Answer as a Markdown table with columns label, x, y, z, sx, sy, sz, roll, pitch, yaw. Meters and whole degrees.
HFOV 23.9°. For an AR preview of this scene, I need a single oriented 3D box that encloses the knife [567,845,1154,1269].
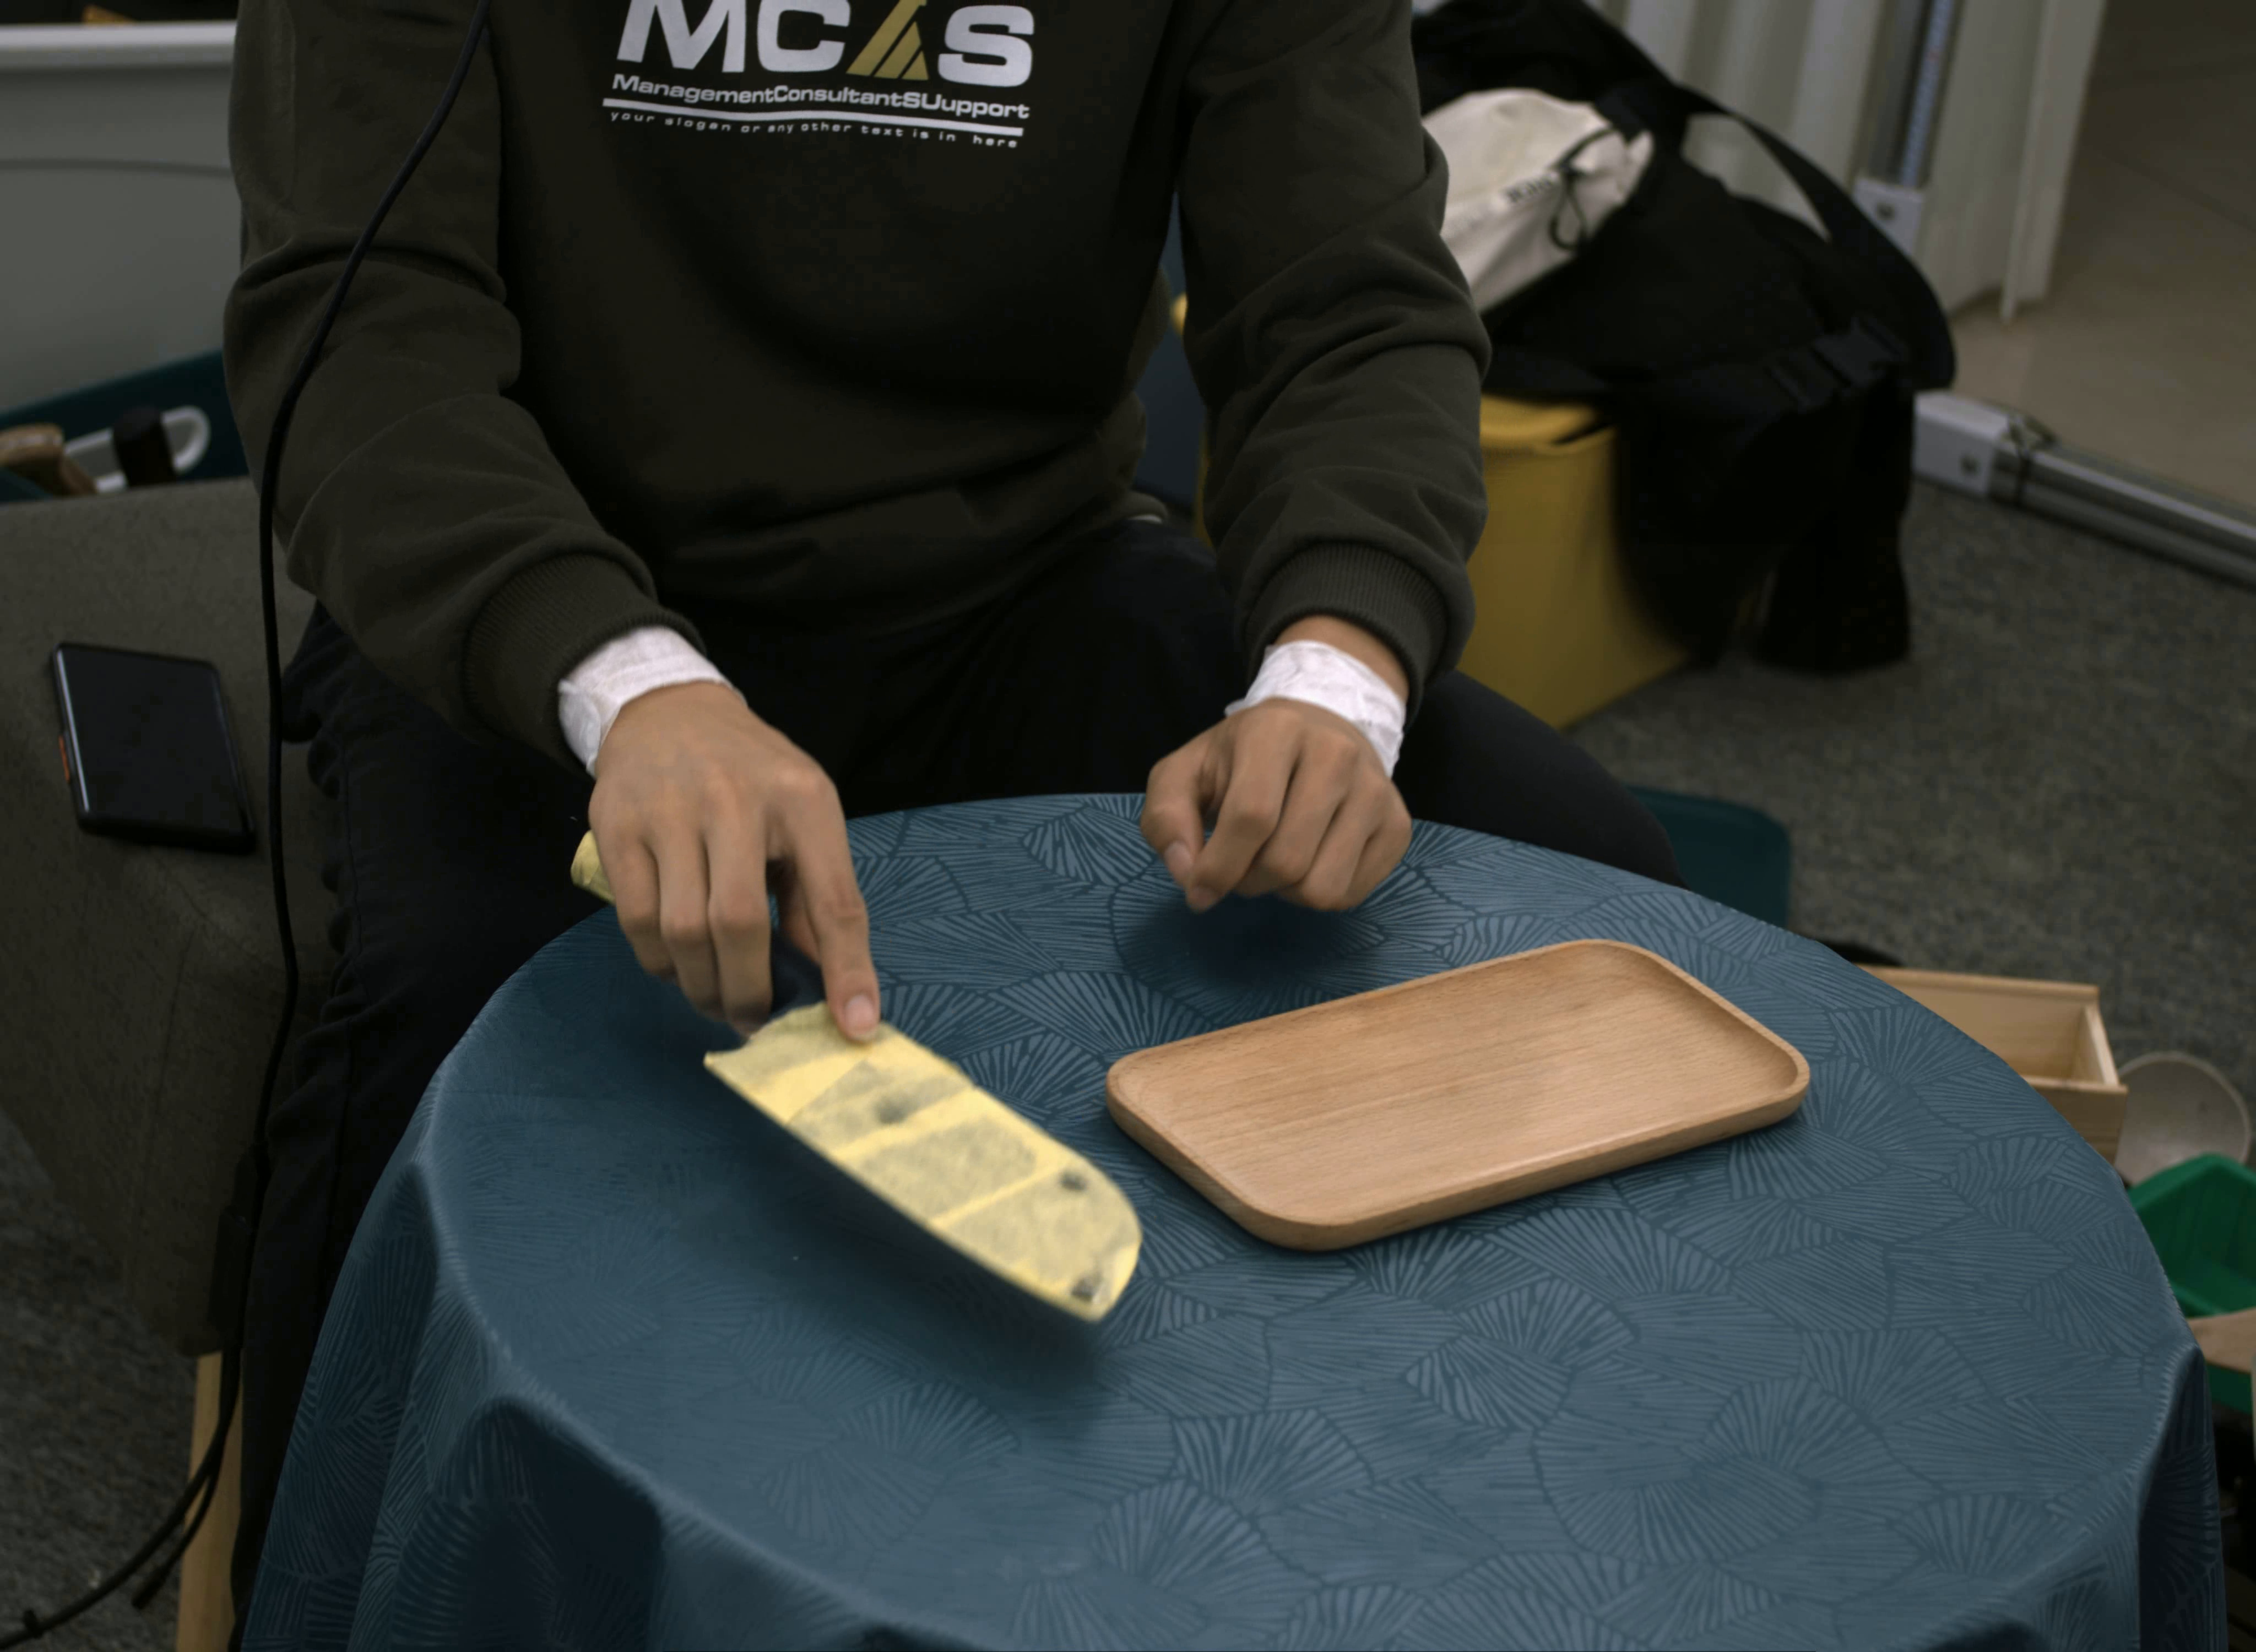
| label | x | y | z | sx | sy | sz | roll | pitch | yaw |
| --- | --- | --- | --- | --- | --- | --- | --- | --- | --- |
| knife | -0.098 | 0.077 | 1.765 | 0.080 | 0.027 | 0.292 | -14 | 35 | -44 |

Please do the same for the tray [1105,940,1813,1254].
| label | x | y | z | sx | sy | sz | roll | pitch | yaw |
| --- | --- | --- | --- | --- | --- | --- | --- | --- | --- |
| tray | 0.118 | 0.094 | 1.872 | 0.249 | 0.023 | 0.131 | -13 | 30 | -33 |
